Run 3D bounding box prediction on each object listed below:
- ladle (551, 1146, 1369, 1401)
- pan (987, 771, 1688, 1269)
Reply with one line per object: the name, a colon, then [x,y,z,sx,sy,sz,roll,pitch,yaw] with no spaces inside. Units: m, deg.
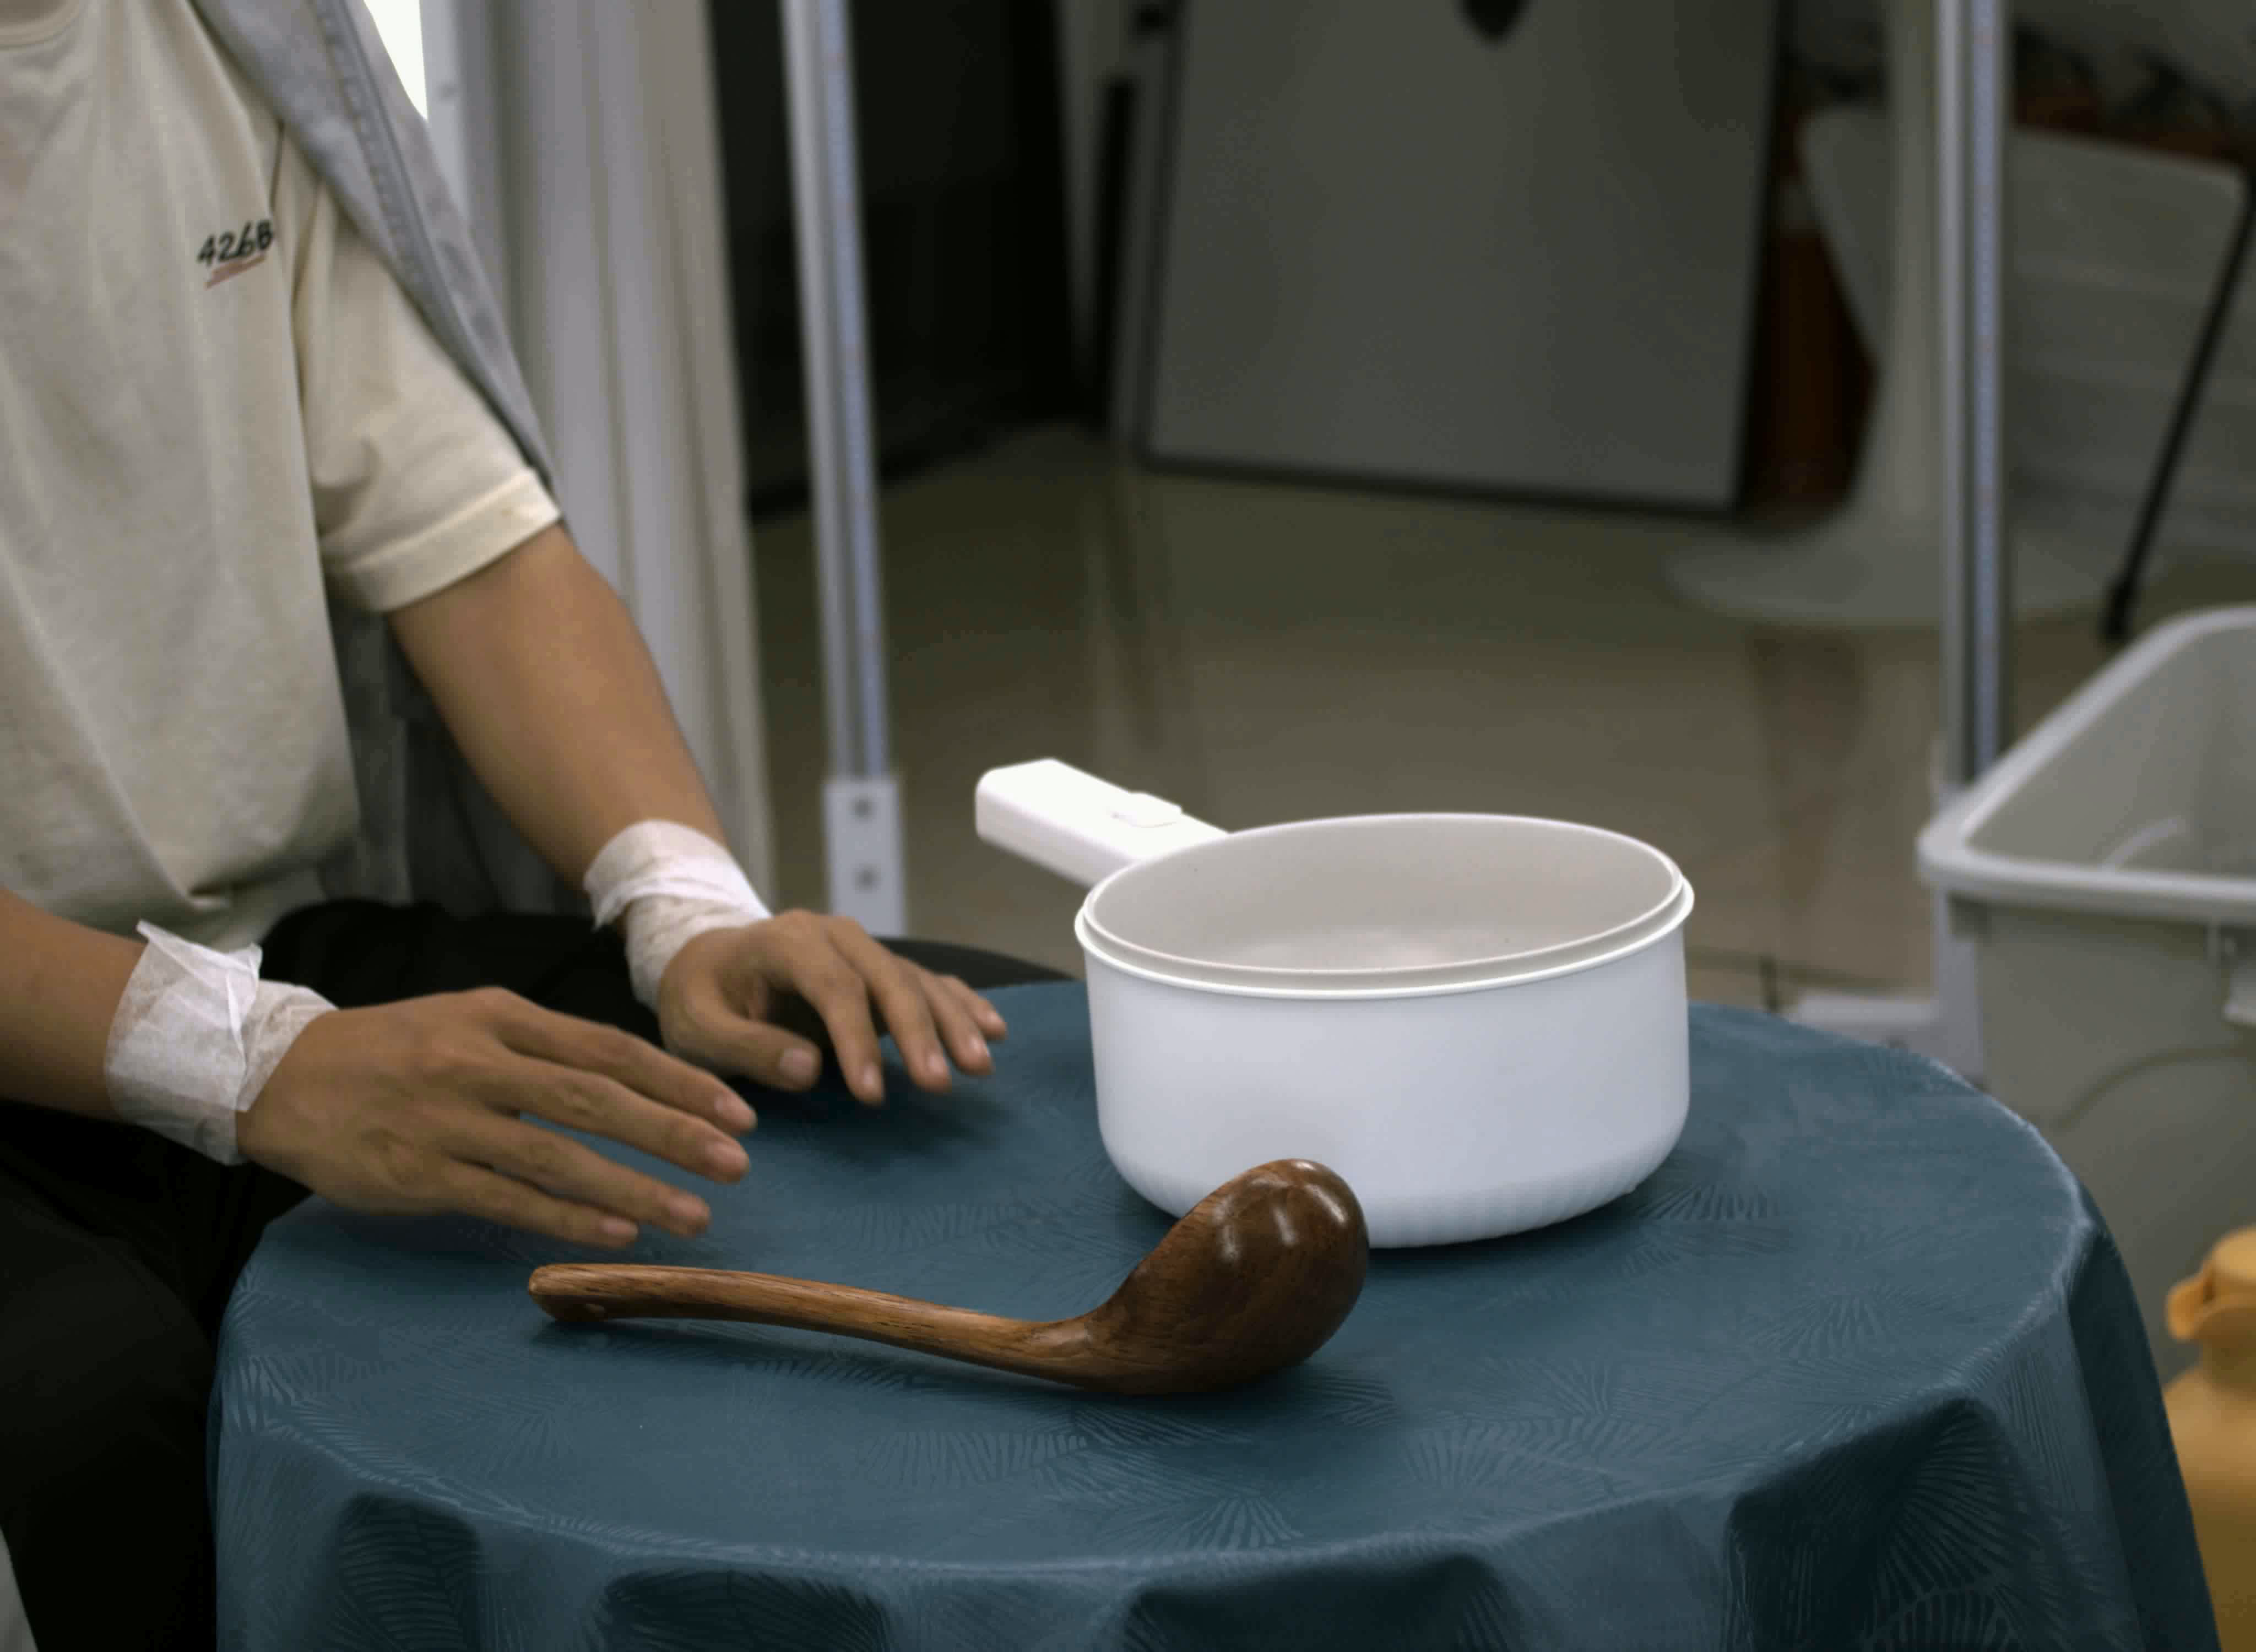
ladle: [-0.054,0.127,1.624,0.275,0.081,0.077,3,58,34]
pan: [0.049,0.058,1.817,0.197,0.103,0.358,-12,15,-26]
